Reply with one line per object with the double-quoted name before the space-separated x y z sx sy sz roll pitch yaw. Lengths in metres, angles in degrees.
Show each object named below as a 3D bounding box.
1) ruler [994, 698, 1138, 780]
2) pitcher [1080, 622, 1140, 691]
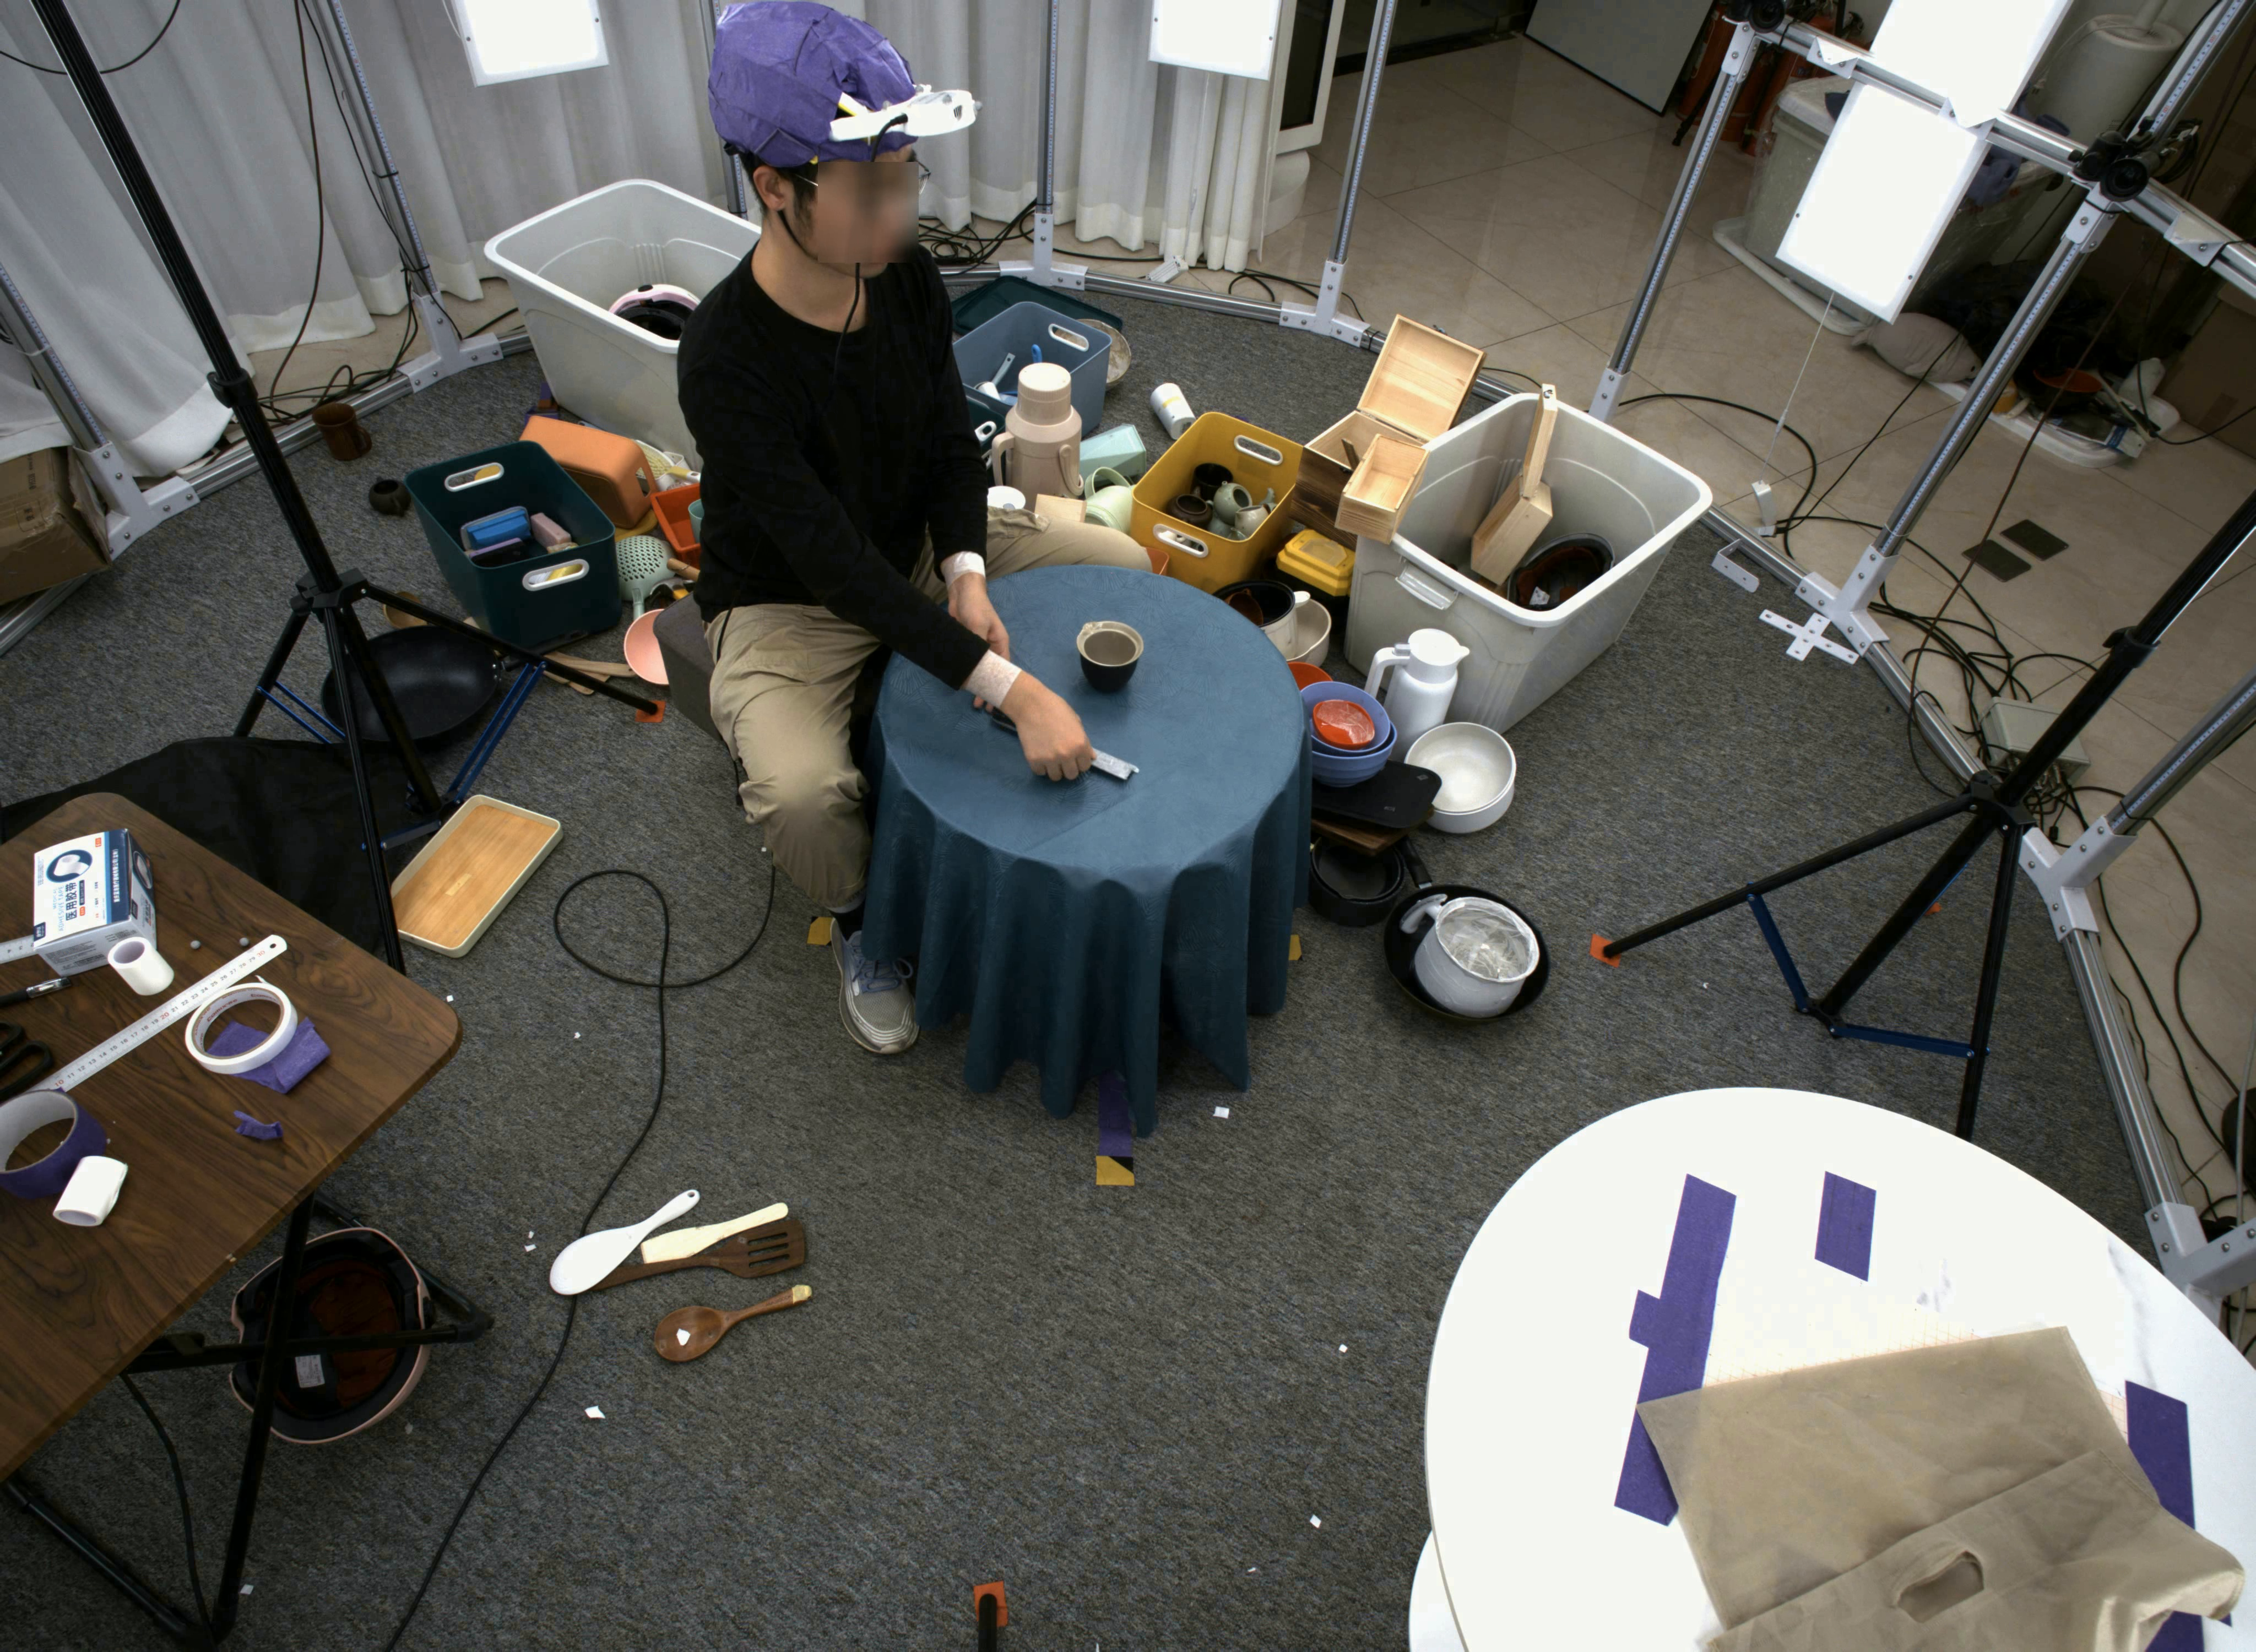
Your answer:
"ruler" -0.088 -0.122 1.748 0.220 0.023 0.039 25 45 18
"pitcher" -0.030 -0.238 1.827 0.084 0.069 0.097 -31 59 -26
